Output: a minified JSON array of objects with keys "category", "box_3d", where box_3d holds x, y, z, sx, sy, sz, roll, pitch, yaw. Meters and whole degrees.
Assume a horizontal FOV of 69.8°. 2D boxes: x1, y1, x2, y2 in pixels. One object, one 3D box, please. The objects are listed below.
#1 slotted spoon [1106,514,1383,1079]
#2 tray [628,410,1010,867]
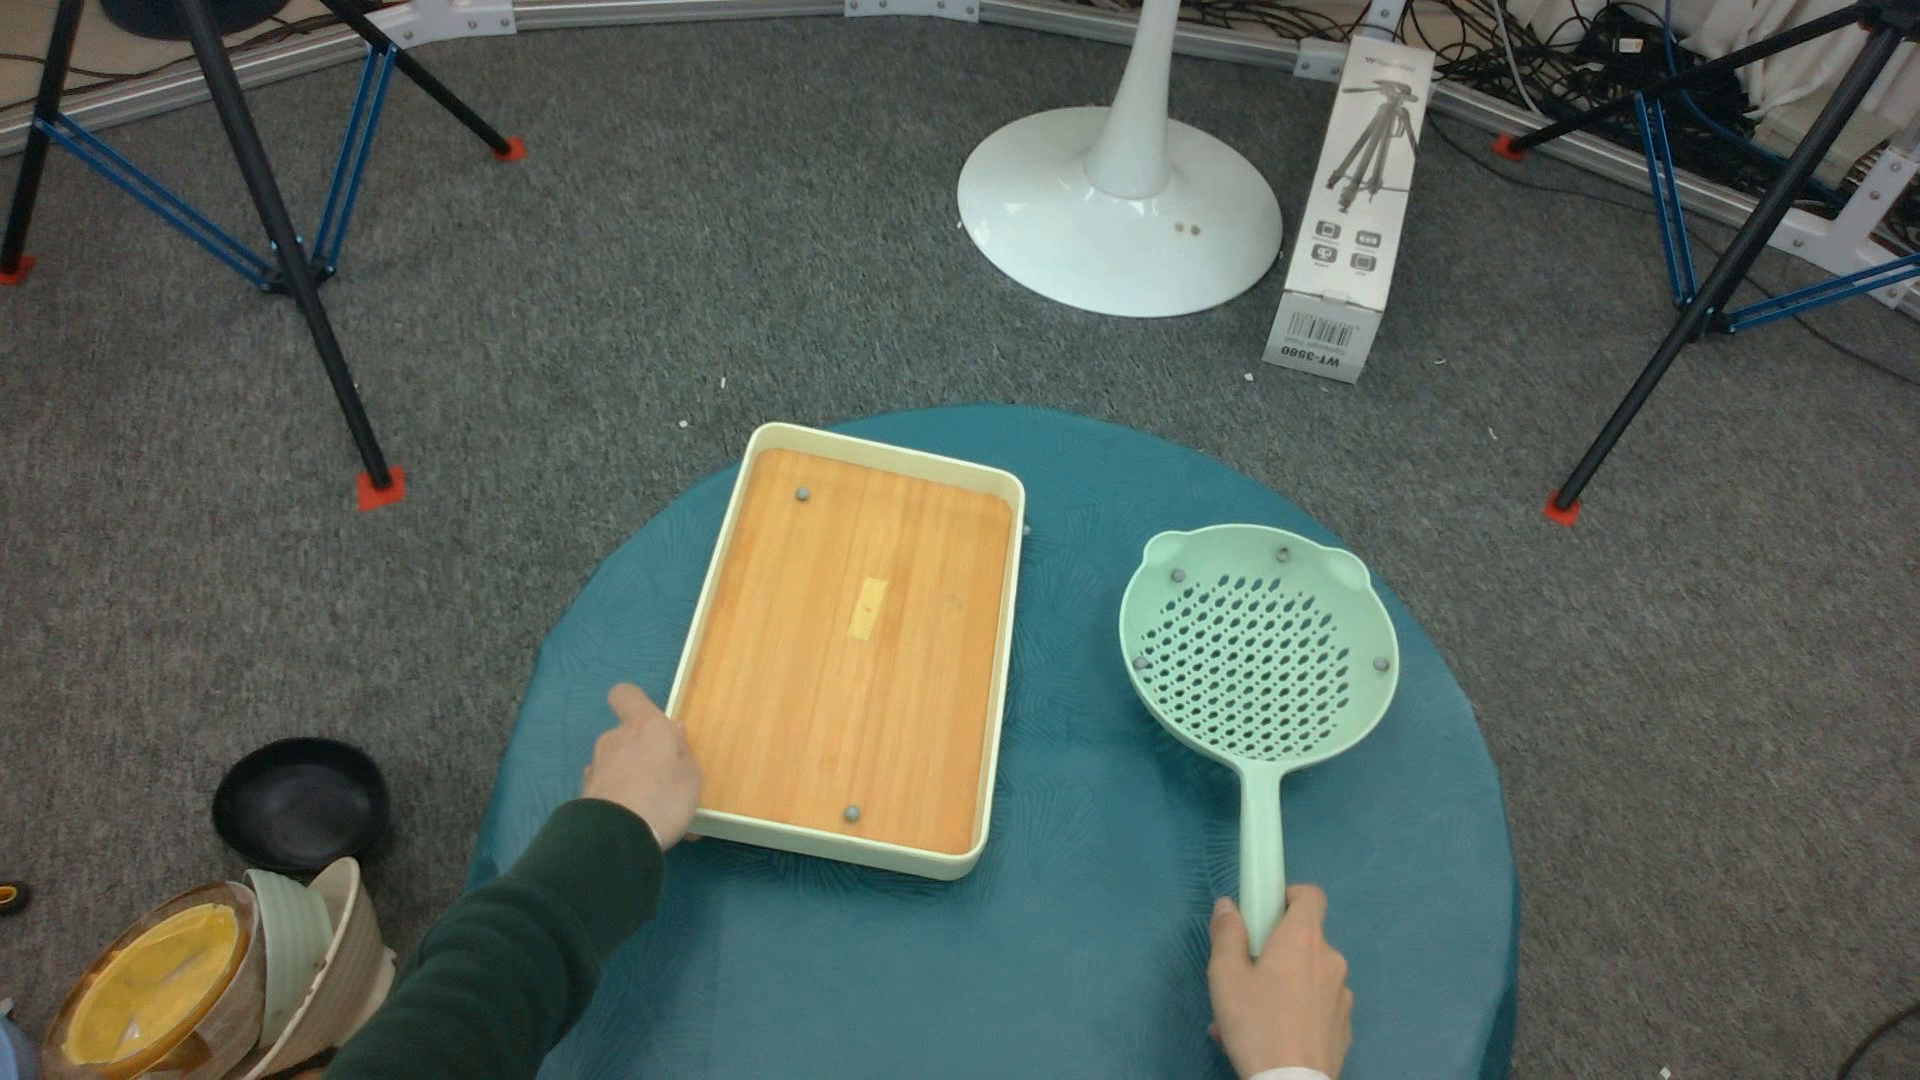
[{"category":"slotted spoon","box_3d":[0.162,0.138,0.788,0.169,0.075,0.360,6,46,2]},{"category":"tray","box_3d":[-0.074,0.047,0.845,0.191,0.027,0.302,12,48,-4]}]
